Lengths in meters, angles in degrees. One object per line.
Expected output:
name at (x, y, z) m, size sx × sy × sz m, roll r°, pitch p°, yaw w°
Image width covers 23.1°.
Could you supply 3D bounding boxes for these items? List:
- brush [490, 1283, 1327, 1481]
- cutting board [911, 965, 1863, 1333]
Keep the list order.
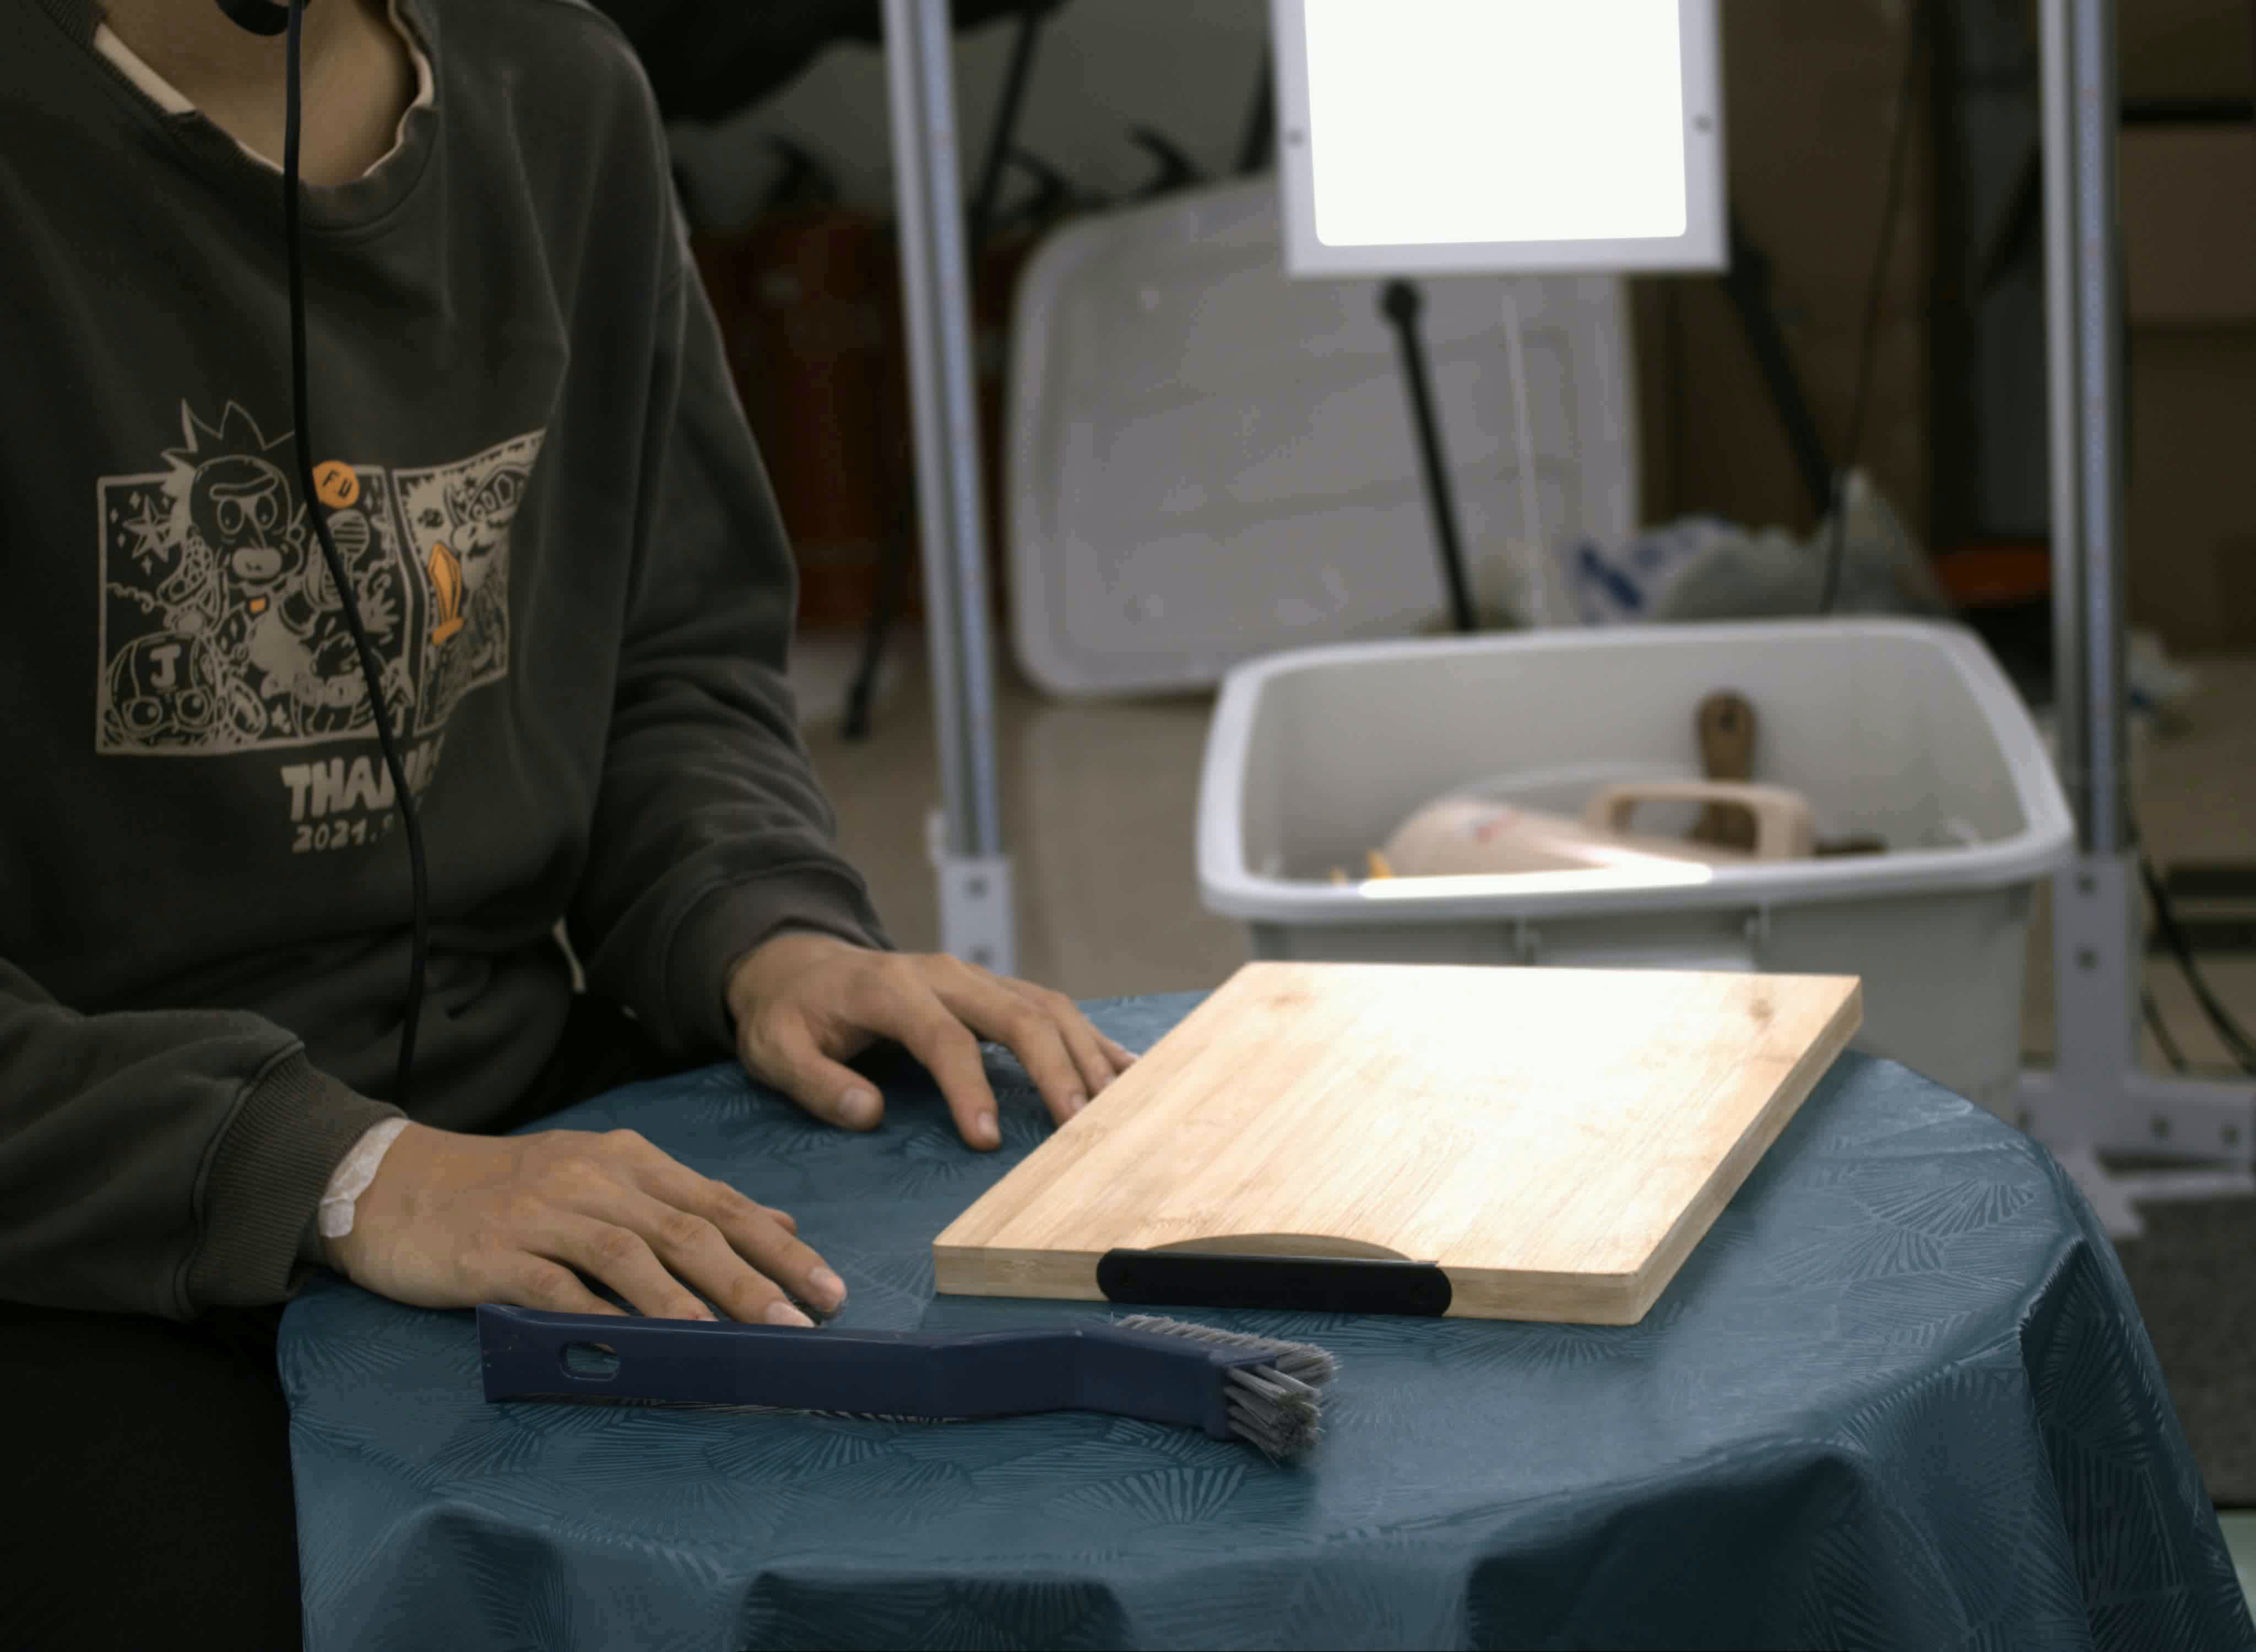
brush at (-0.075, 0.168, 1.690) m, size 0.275 × 0.033 × 0.094 m, roll 0°, pitch 15°, yaw 15°
cutting board at (0.101, 0.107, 1.907) m, size 0.254 × 0.023 × 0.342 m, roll -1°, pitch 14°, yaw 20°
